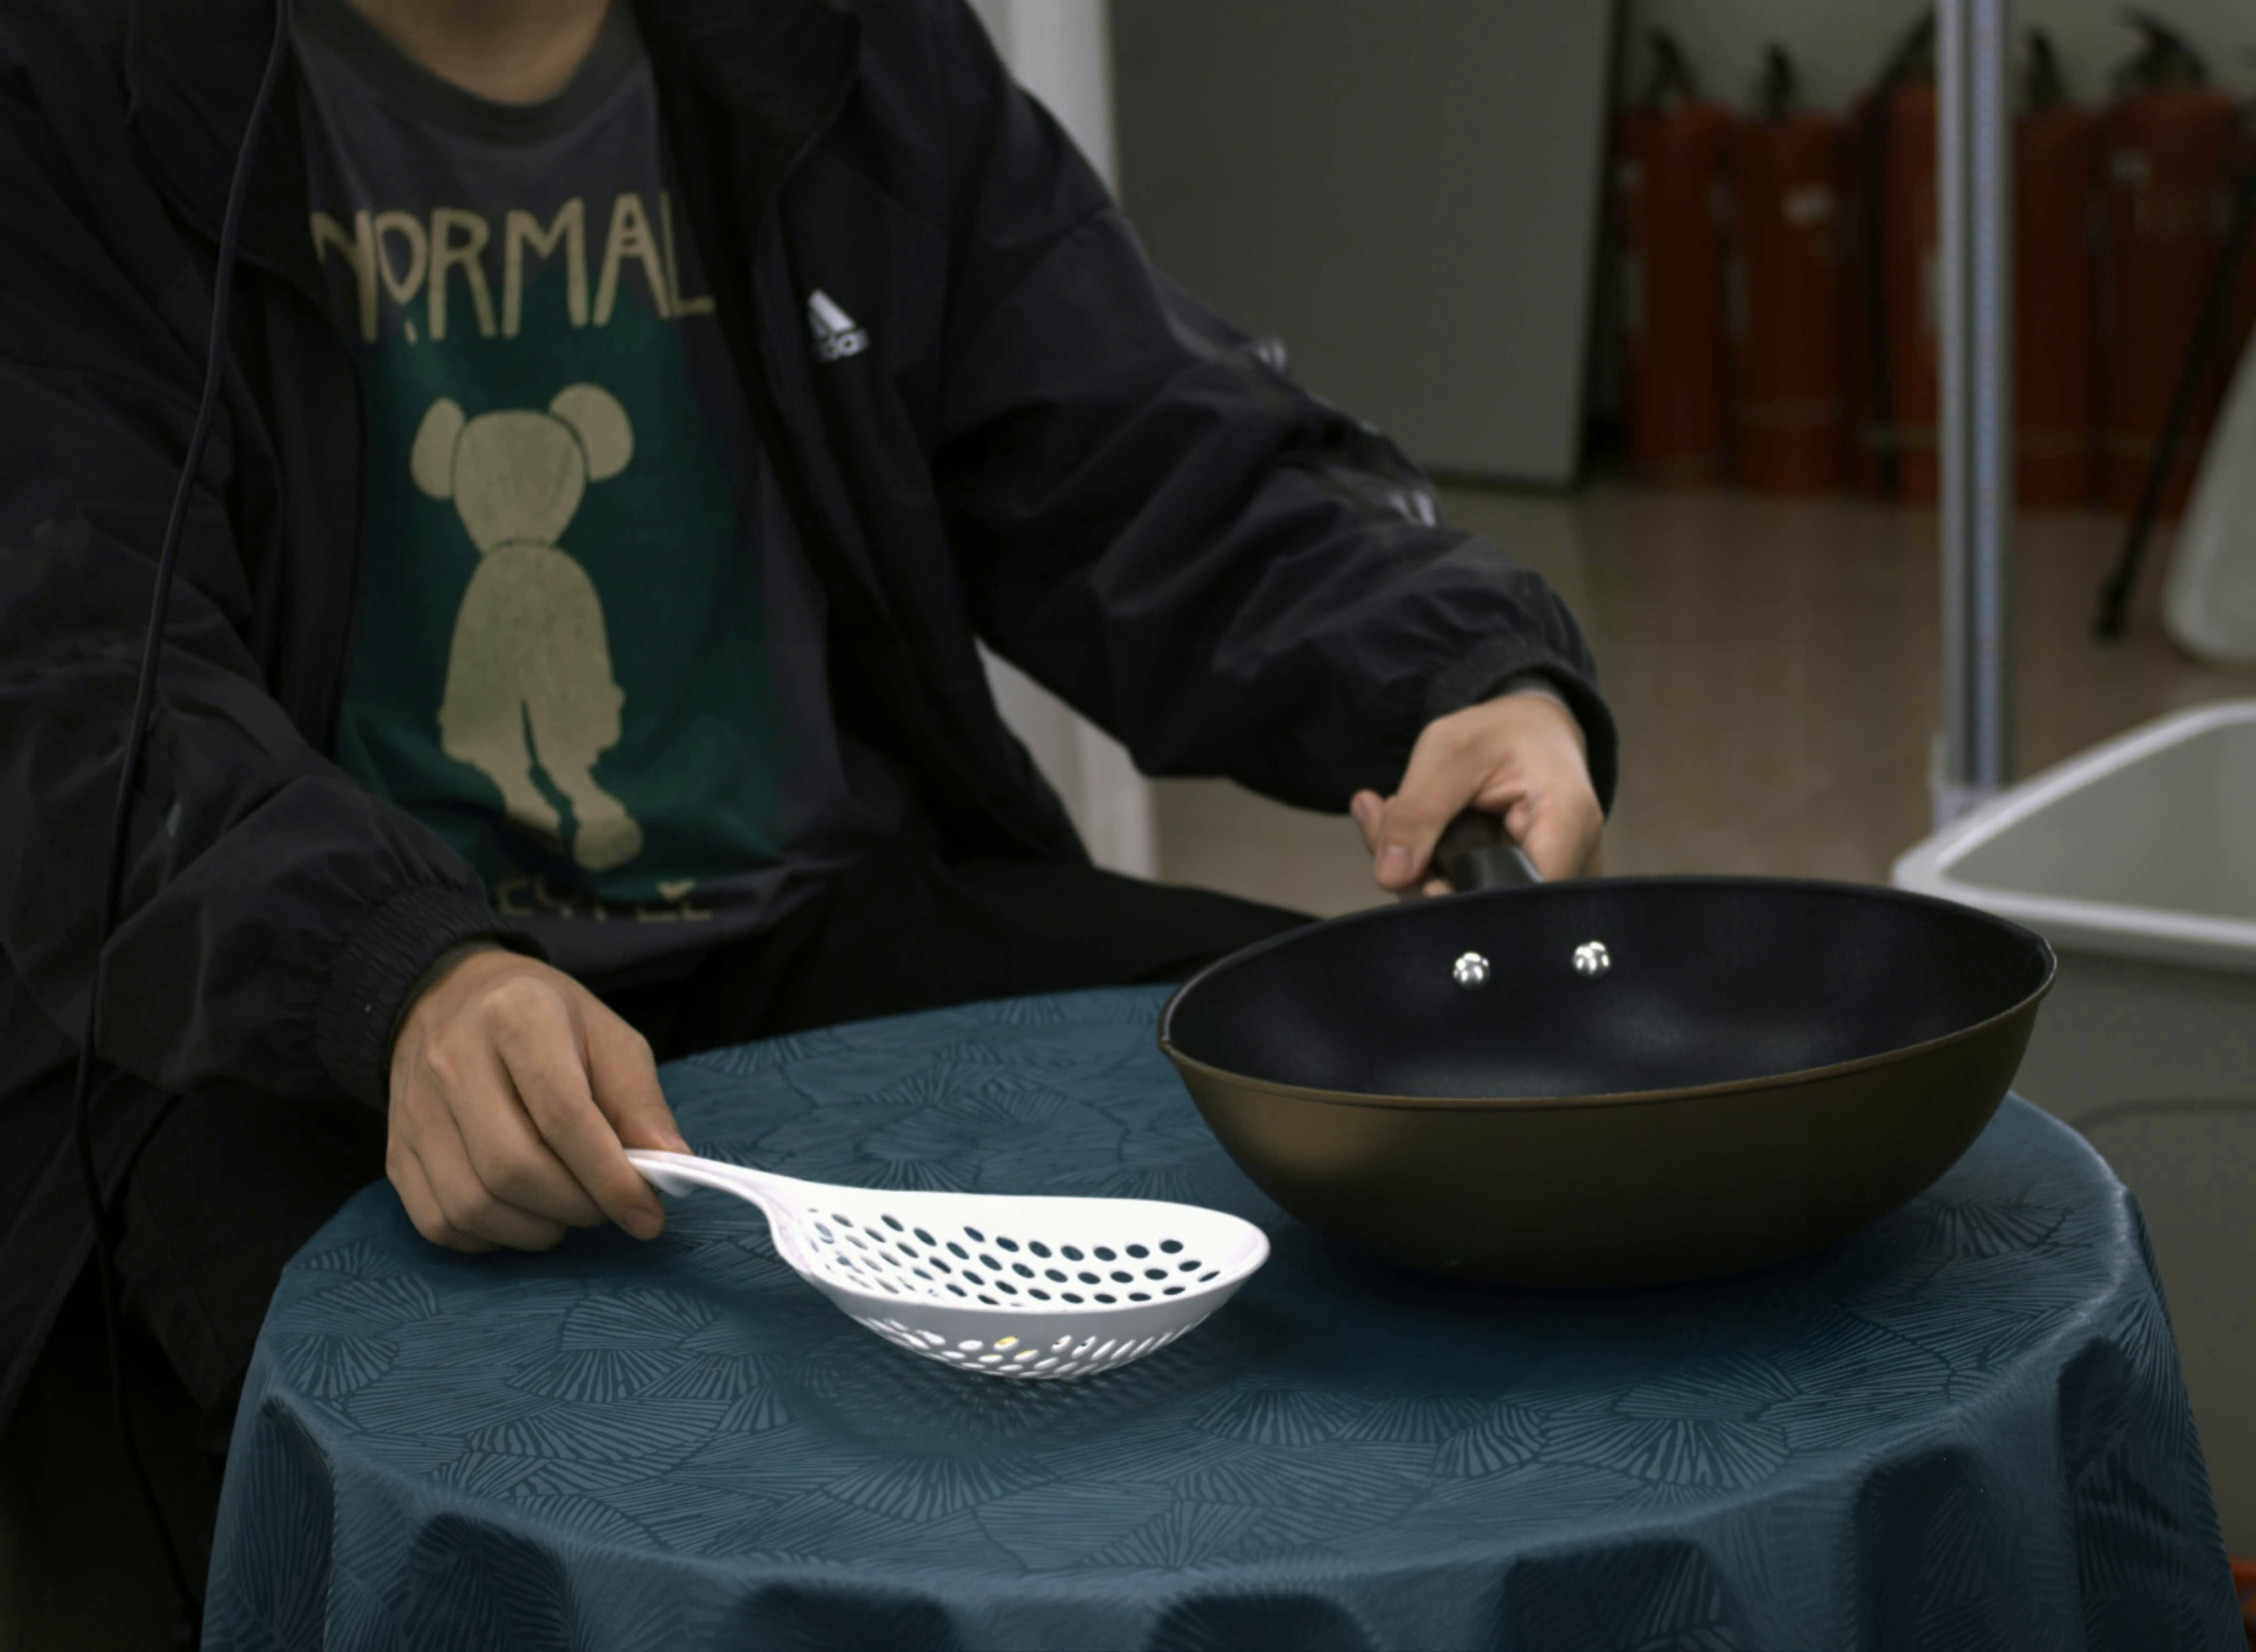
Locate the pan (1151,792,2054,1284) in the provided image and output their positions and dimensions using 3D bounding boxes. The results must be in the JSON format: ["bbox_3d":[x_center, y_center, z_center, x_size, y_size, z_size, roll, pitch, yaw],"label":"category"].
[{"bbox_3d":[0.140,0.067,1.781,0.284,0.088,0.465,-6,11,-5],"label":"pan"}]

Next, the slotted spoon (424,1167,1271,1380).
[{"bbox_3d":[-0.103,0.127,1.684,0.134,0.051,0.351,-14,17,-43],"label":"slotted spoon"}]
